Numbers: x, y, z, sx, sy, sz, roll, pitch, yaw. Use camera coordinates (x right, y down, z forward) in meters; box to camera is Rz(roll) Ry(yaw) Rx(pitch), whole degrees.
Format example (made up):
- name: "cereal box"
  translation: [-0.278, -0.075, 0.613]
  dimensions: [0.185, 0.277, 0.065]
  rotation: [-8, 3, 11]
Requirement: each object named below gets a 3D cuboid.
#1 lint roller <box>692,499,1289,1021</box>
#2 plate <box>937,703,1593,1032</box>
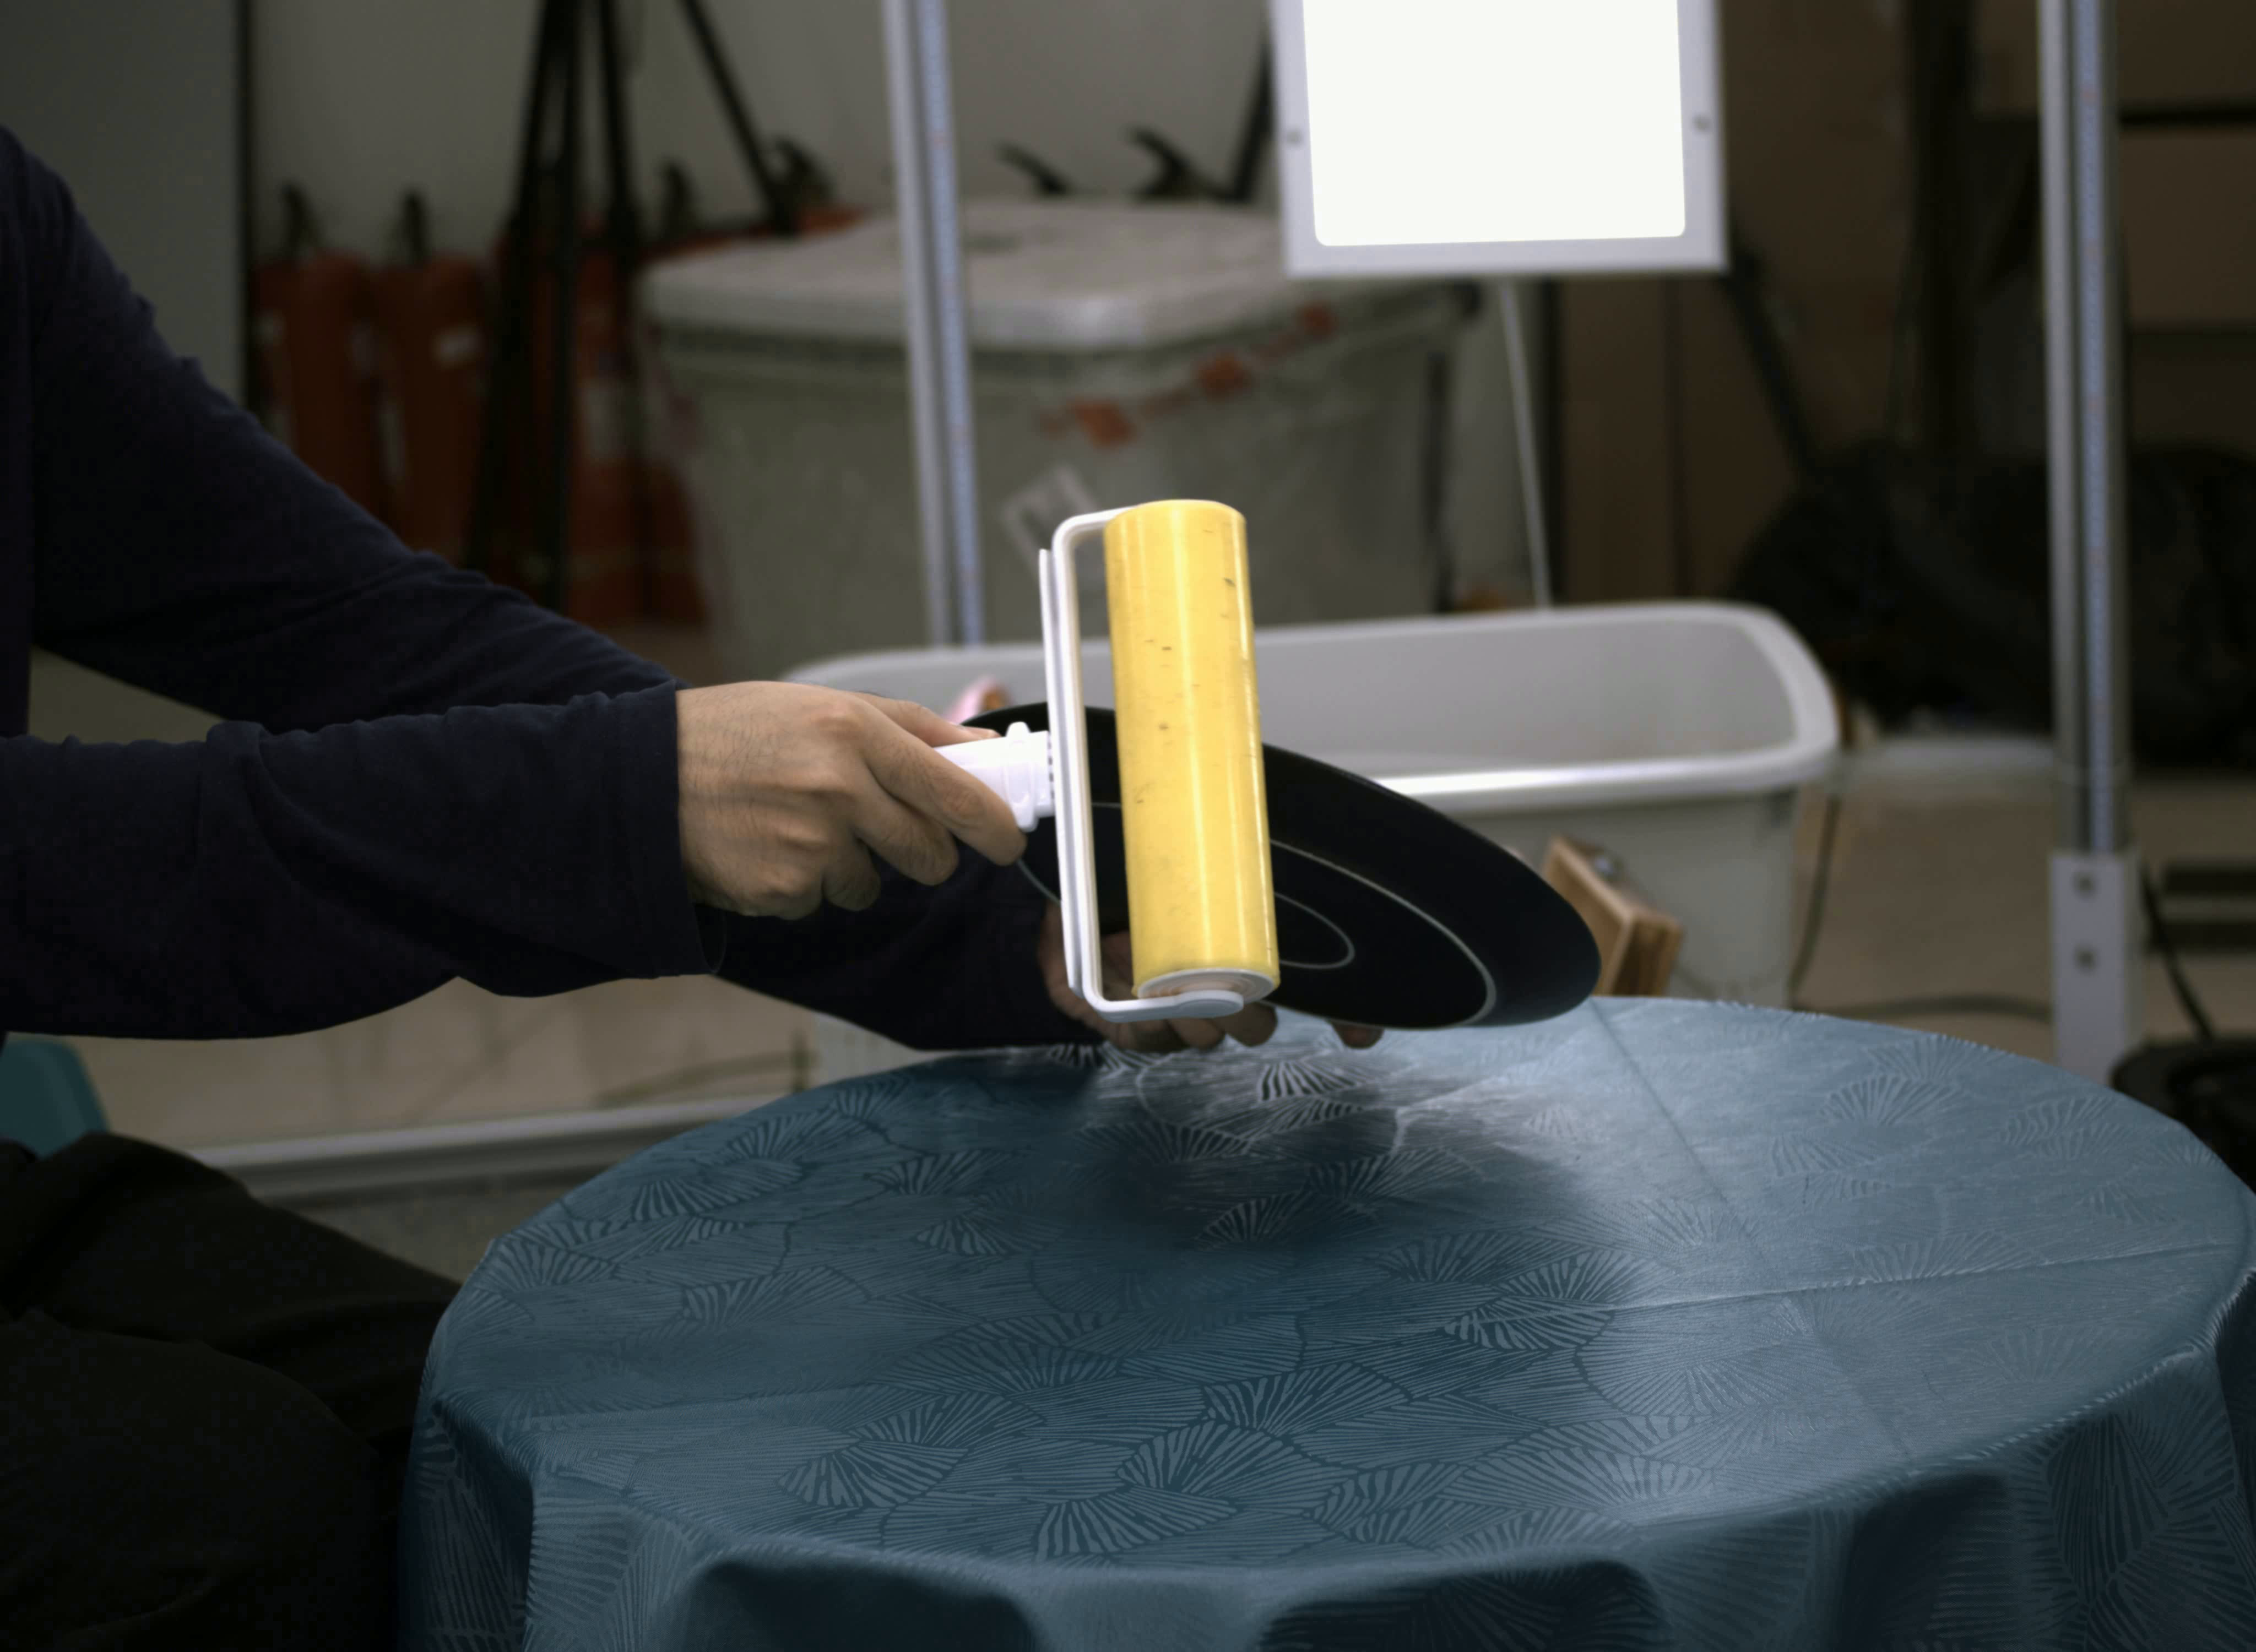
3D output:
- name: "lint roller"
  translation: [-0.050, -0.014, 1.793]
  dimensions: [0.192, 0.174, 0.051]
  rotation: [-6, -20, 4]
- name: "plate"
  translation: [0.044, 0.023, 1.917]
  dimensions: [0.245, 0.023, 0.245]
  rotation: [20, -18, 5]
